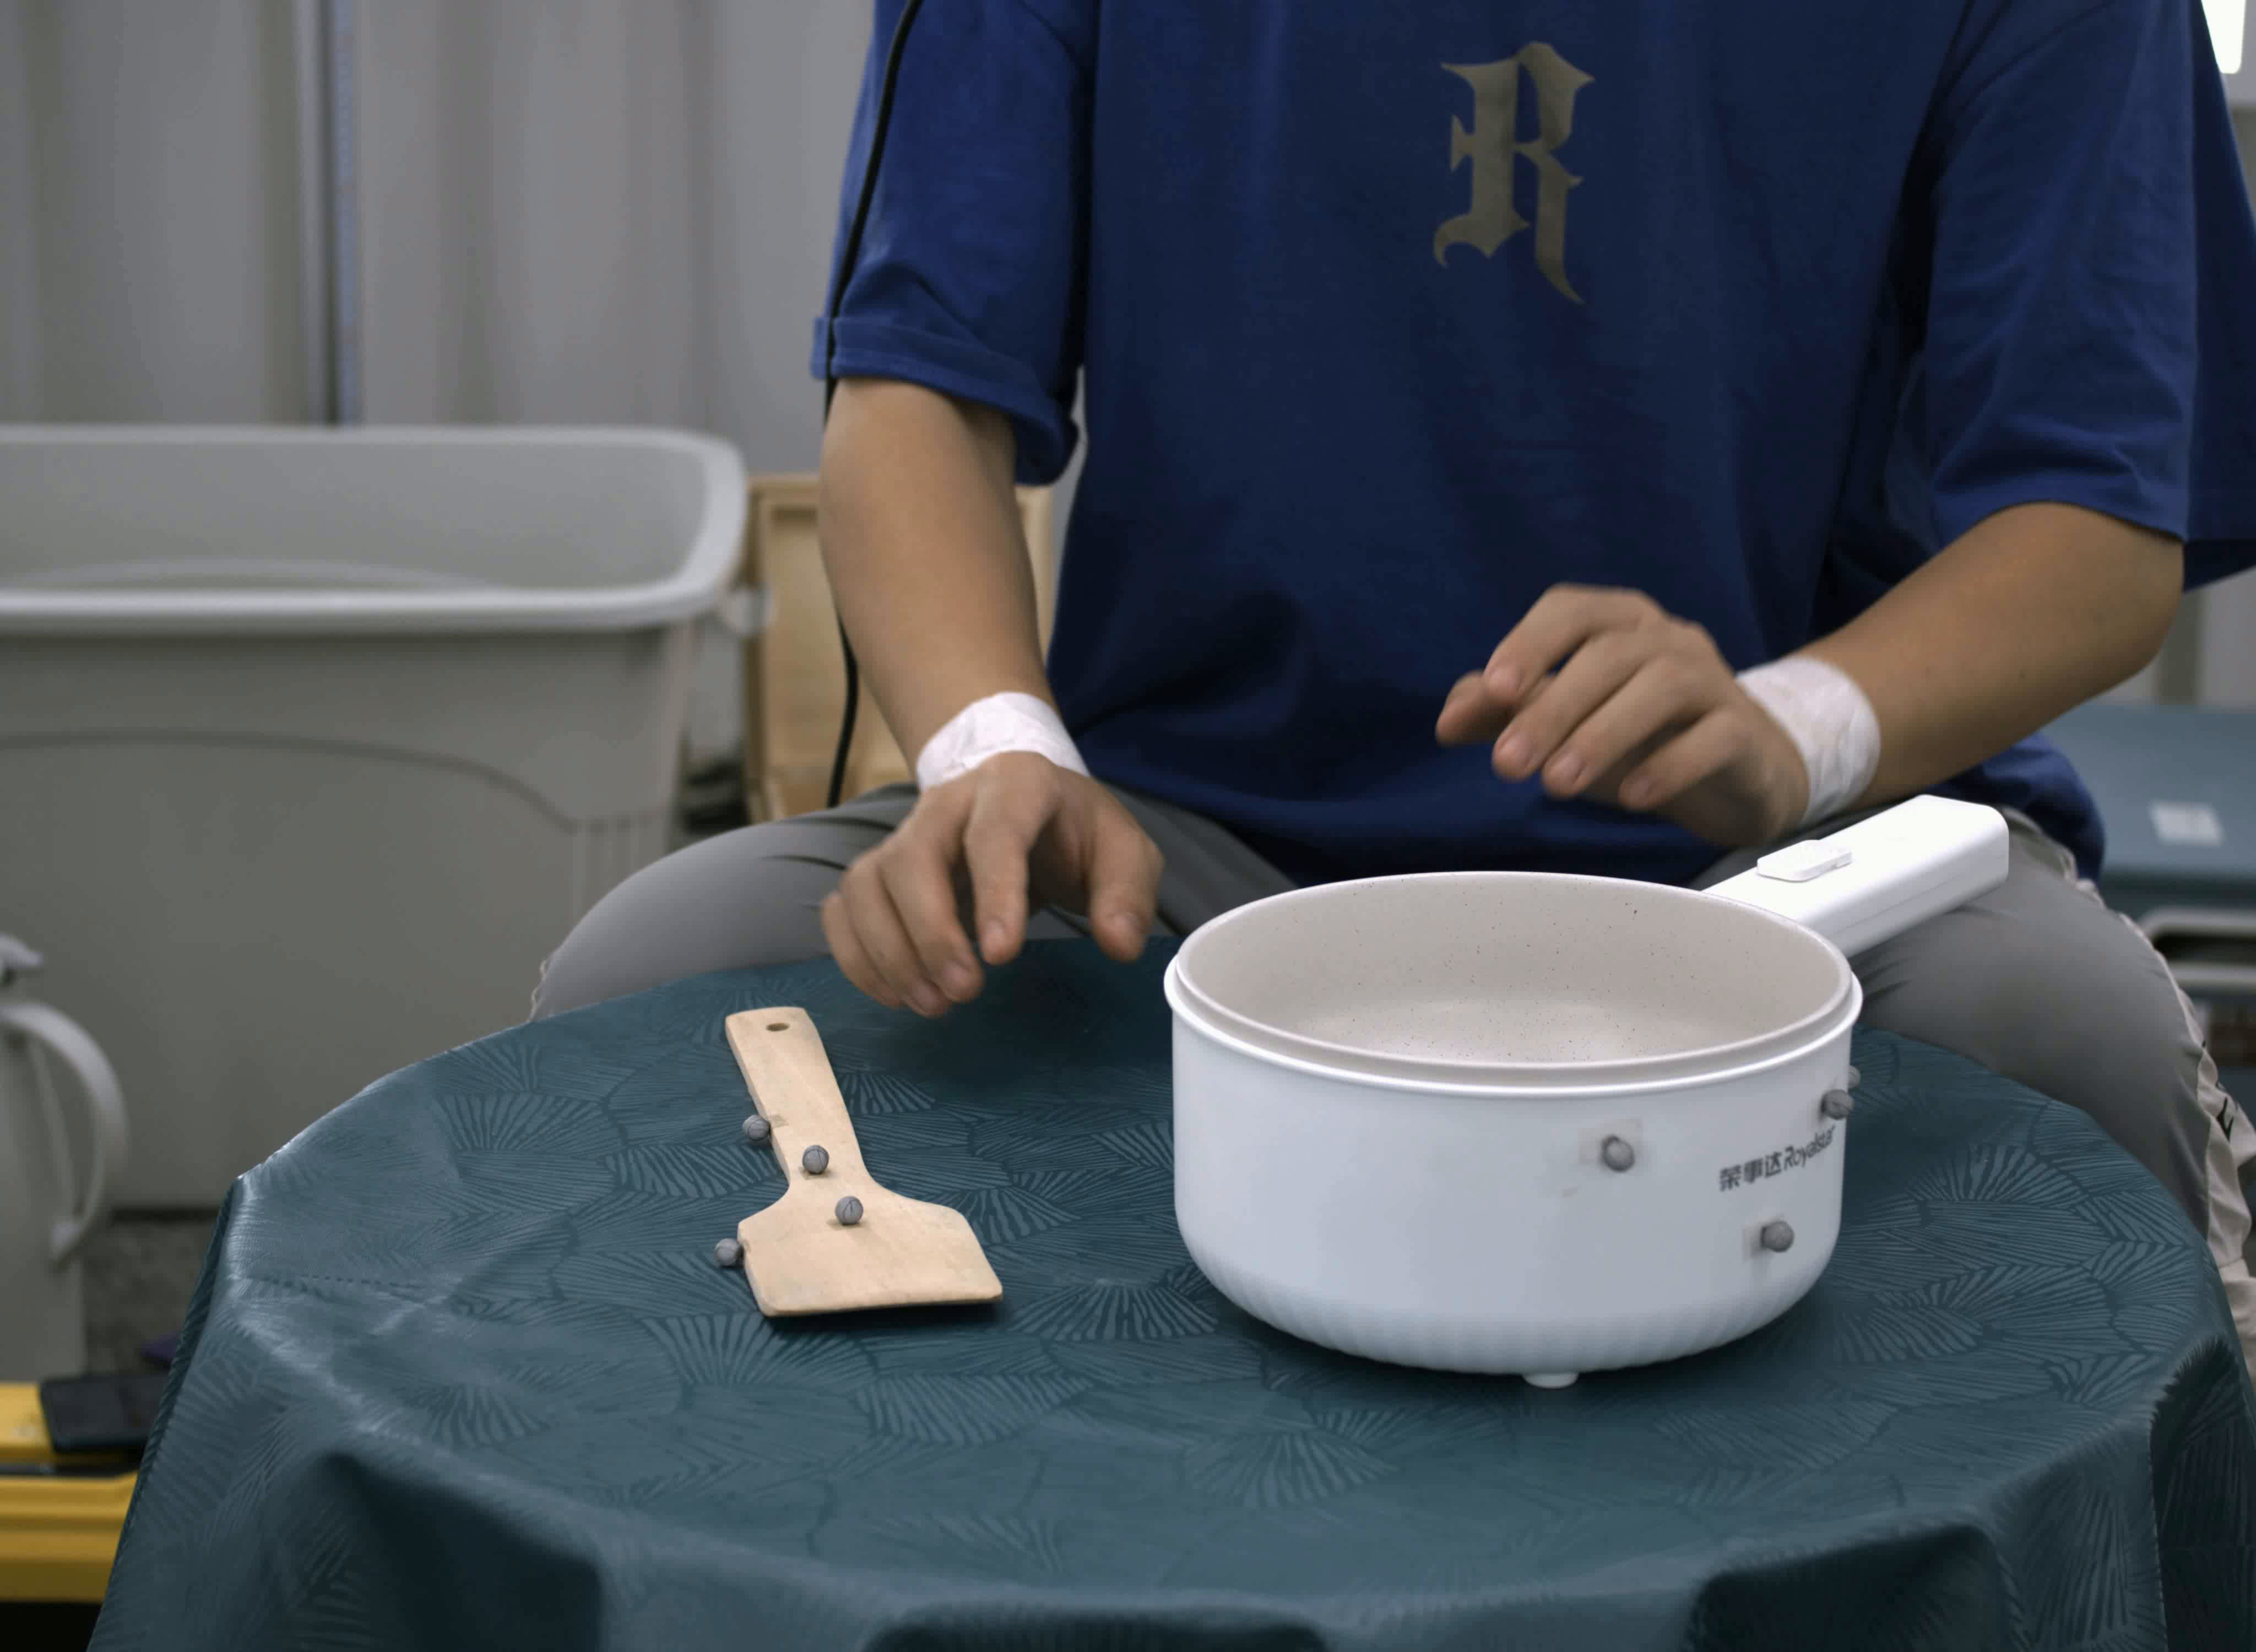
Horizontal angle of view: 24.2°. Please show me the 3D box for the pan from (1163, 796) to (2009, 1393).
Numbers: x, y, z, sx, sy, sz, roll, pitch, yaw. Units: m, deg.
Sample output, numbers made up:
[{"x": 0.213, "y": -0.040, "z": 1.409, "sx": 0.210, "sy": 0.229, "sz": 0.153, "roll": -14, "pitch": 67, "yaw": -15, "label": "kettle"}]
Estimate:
[{"x": 0.159, "y": 0.074, "z": 1.586, "sx": 0.198, "sy": 0.103, "sz": 0.356, "roll": 10, "pitch": 18, "yaw": 37, "label": "pan"}]

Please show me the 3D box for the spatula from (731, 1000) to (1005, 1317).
[{"x": -0.096, "y": 0.101, "z": 1.642, "sx": 0.072, "sy": 0.011, "sz": 0.290, "roll": -4, "pitch": 16, "yaw": -10, "label": "spatula"}]
